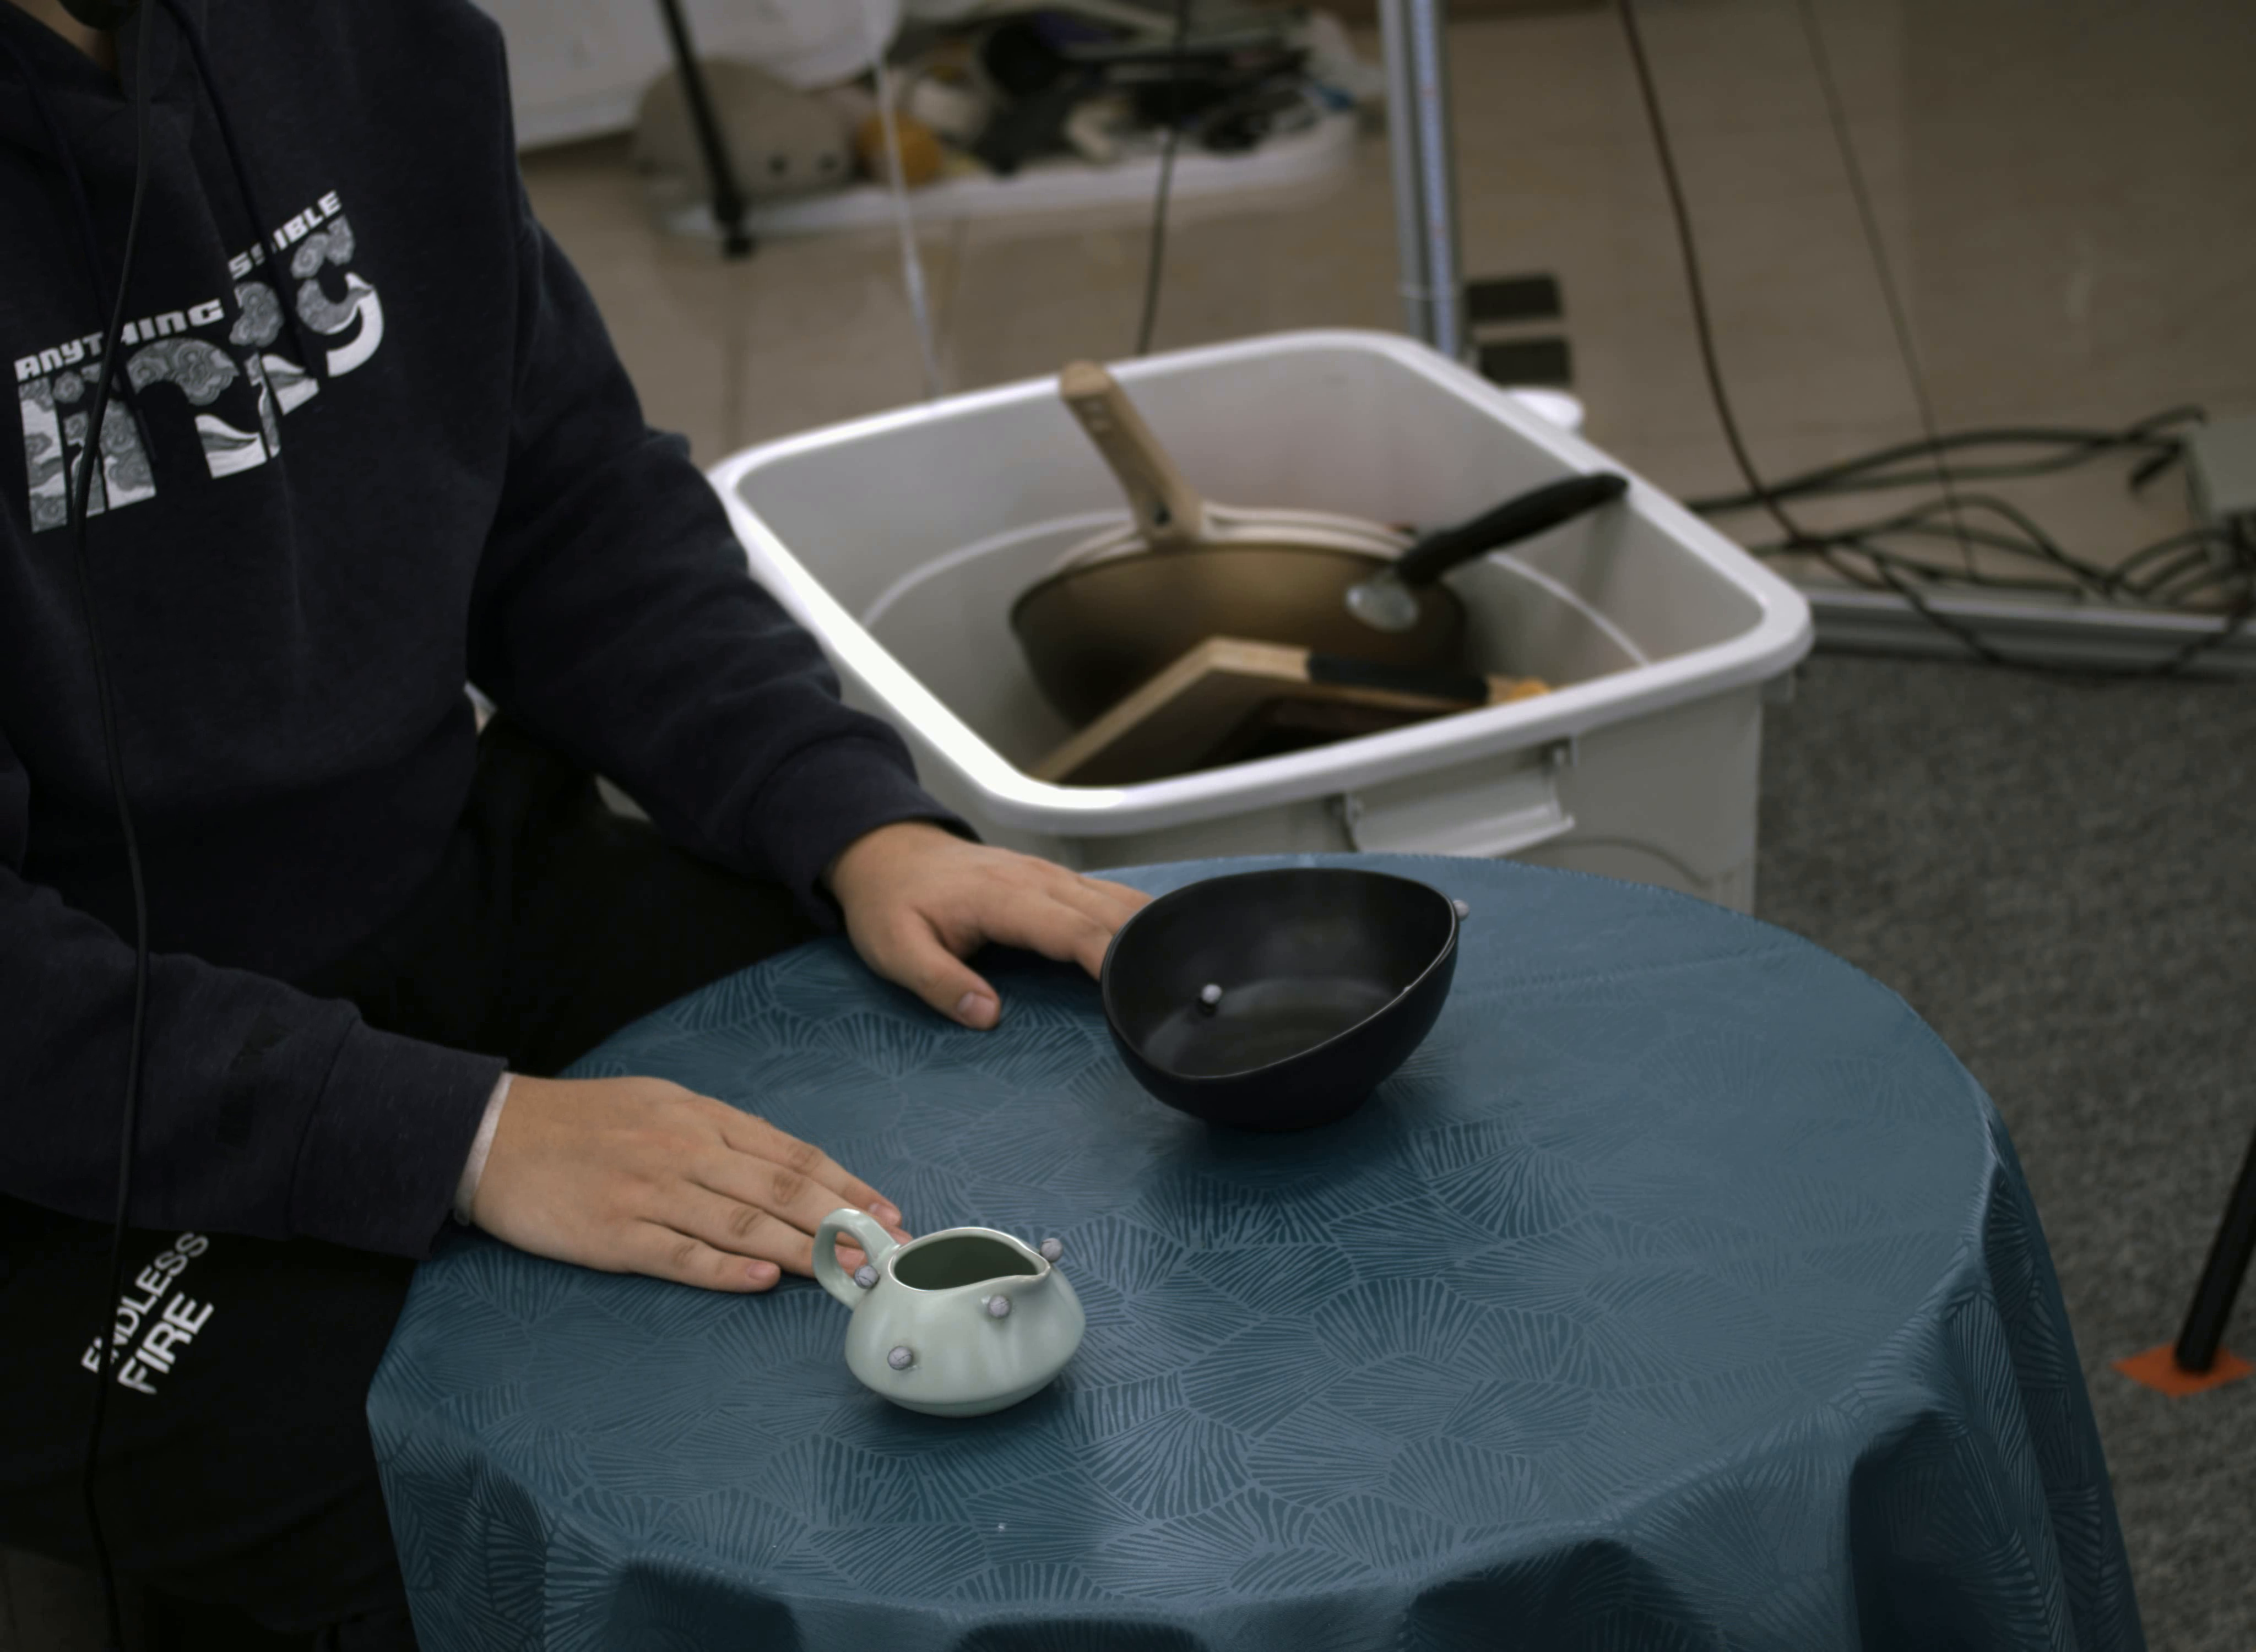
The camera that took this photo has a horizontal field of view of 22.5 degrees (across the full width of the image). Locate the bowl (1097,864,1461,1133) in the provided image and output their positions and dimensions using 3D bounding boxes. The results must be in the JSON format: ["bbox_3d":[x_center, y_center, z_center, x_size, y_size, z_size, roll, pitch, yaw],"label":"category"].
[{"bbox_3d":[0.061,0.075,2.197,0.137,0.068,0.168,3,27,22],"label":"bowl"}]

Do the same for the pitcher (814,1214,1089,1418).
[{"bbox_3d":[-0.067,0.173,2.024,0.107,0.061,0.085,9,28,34],"label":"pitcher"}]
